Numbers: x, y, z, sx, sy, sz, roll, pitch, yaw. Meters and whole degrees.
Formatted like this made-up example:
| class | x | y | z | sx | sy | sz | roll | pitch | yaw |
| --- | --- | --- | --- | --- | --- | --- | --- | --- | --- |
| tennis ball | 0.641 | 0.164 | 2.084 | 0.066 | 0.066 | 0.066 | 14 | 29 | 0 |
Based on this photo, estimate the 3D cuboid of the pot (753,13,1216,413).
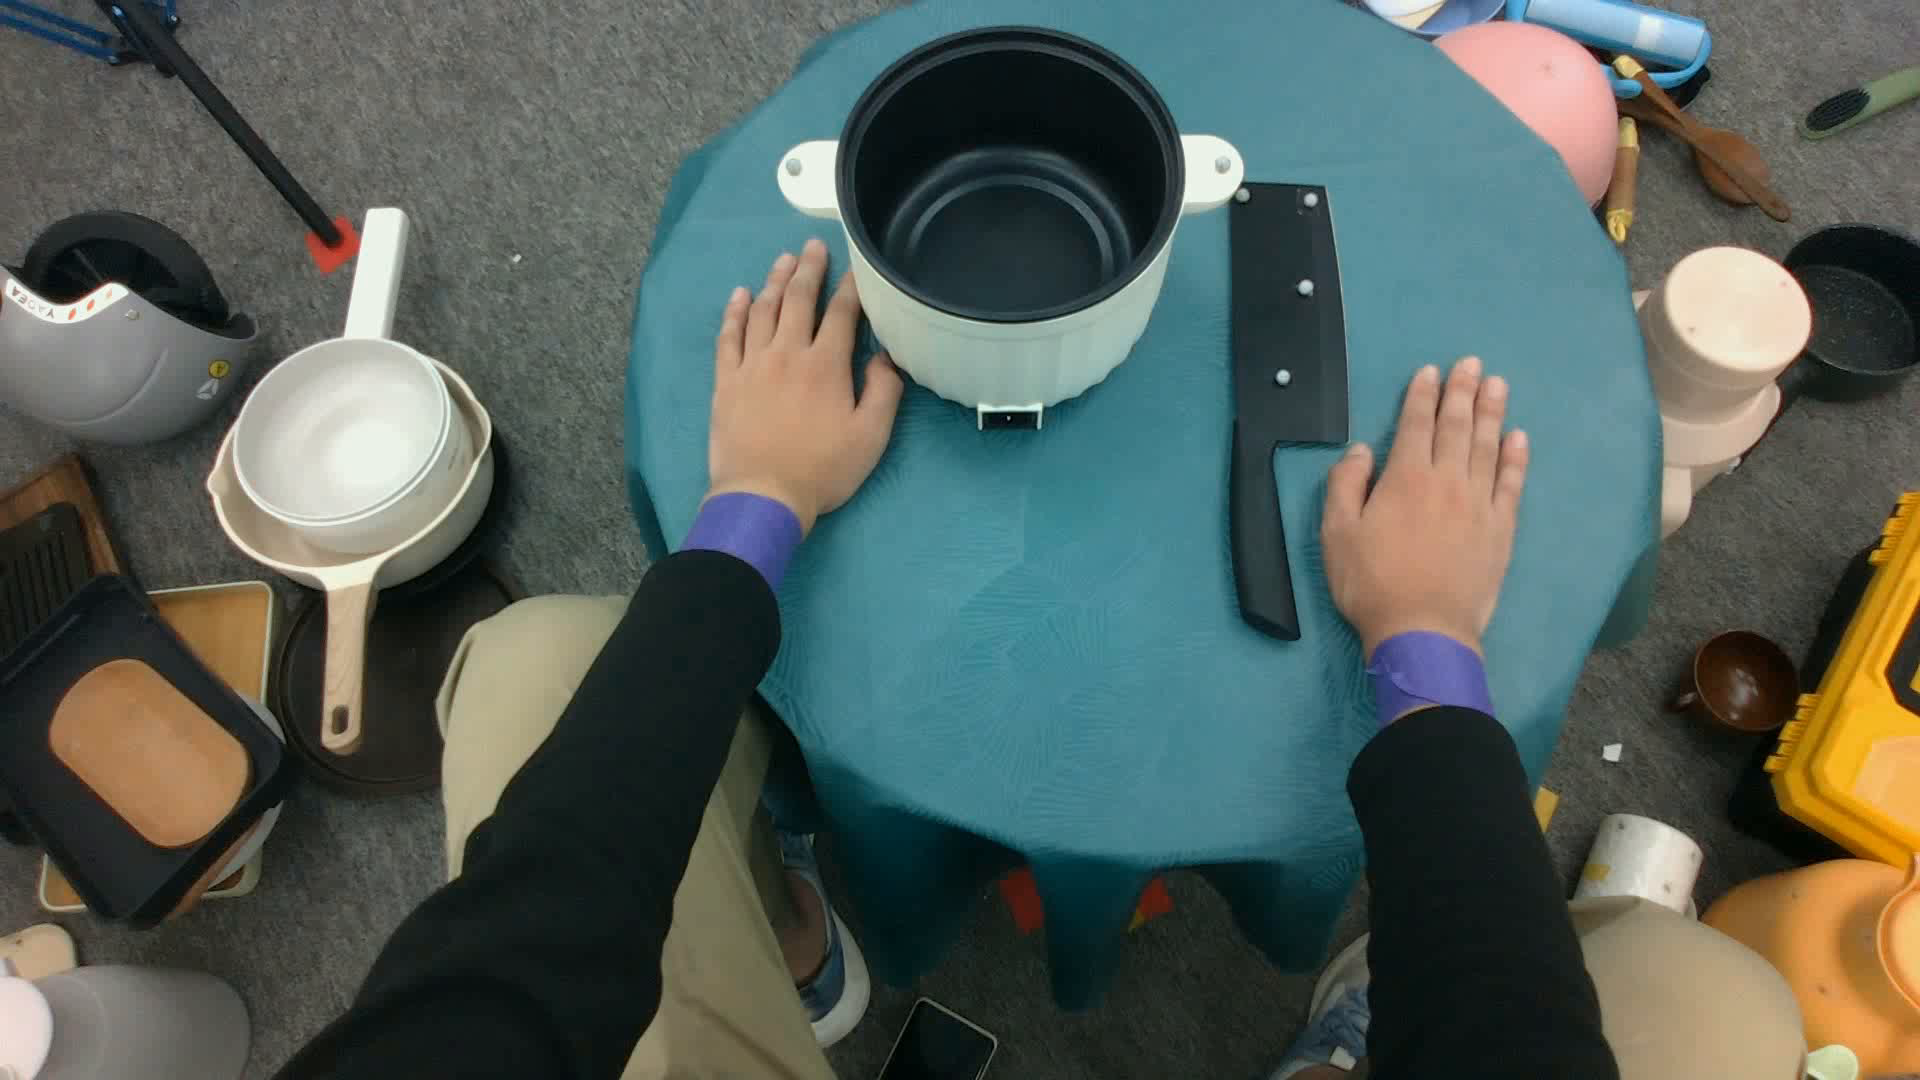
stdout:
| class | x | y | z | sx | sy | sz | roll | pitch | yaw |
| --- | --- | --- | --- | --- | --- | --- | --- | --- | --- |
| pot | 0.012 | -0.182 | 0.773 | 0.240 | 0.142 | 0.191 | -1 | 72 | -1 |

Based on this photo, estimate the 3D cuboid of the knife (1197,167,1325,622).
| class | x | y | z | sx | sy | sz | roll | pitch | yaw |
| --- | --- | --- | --- | --- | --- | --- | --- | --- | --- |
| knife | 0.174 | -0.096 | 0.806 | 0.081 | 0.021 | 0.303 | 7 | 67 | 2 |
